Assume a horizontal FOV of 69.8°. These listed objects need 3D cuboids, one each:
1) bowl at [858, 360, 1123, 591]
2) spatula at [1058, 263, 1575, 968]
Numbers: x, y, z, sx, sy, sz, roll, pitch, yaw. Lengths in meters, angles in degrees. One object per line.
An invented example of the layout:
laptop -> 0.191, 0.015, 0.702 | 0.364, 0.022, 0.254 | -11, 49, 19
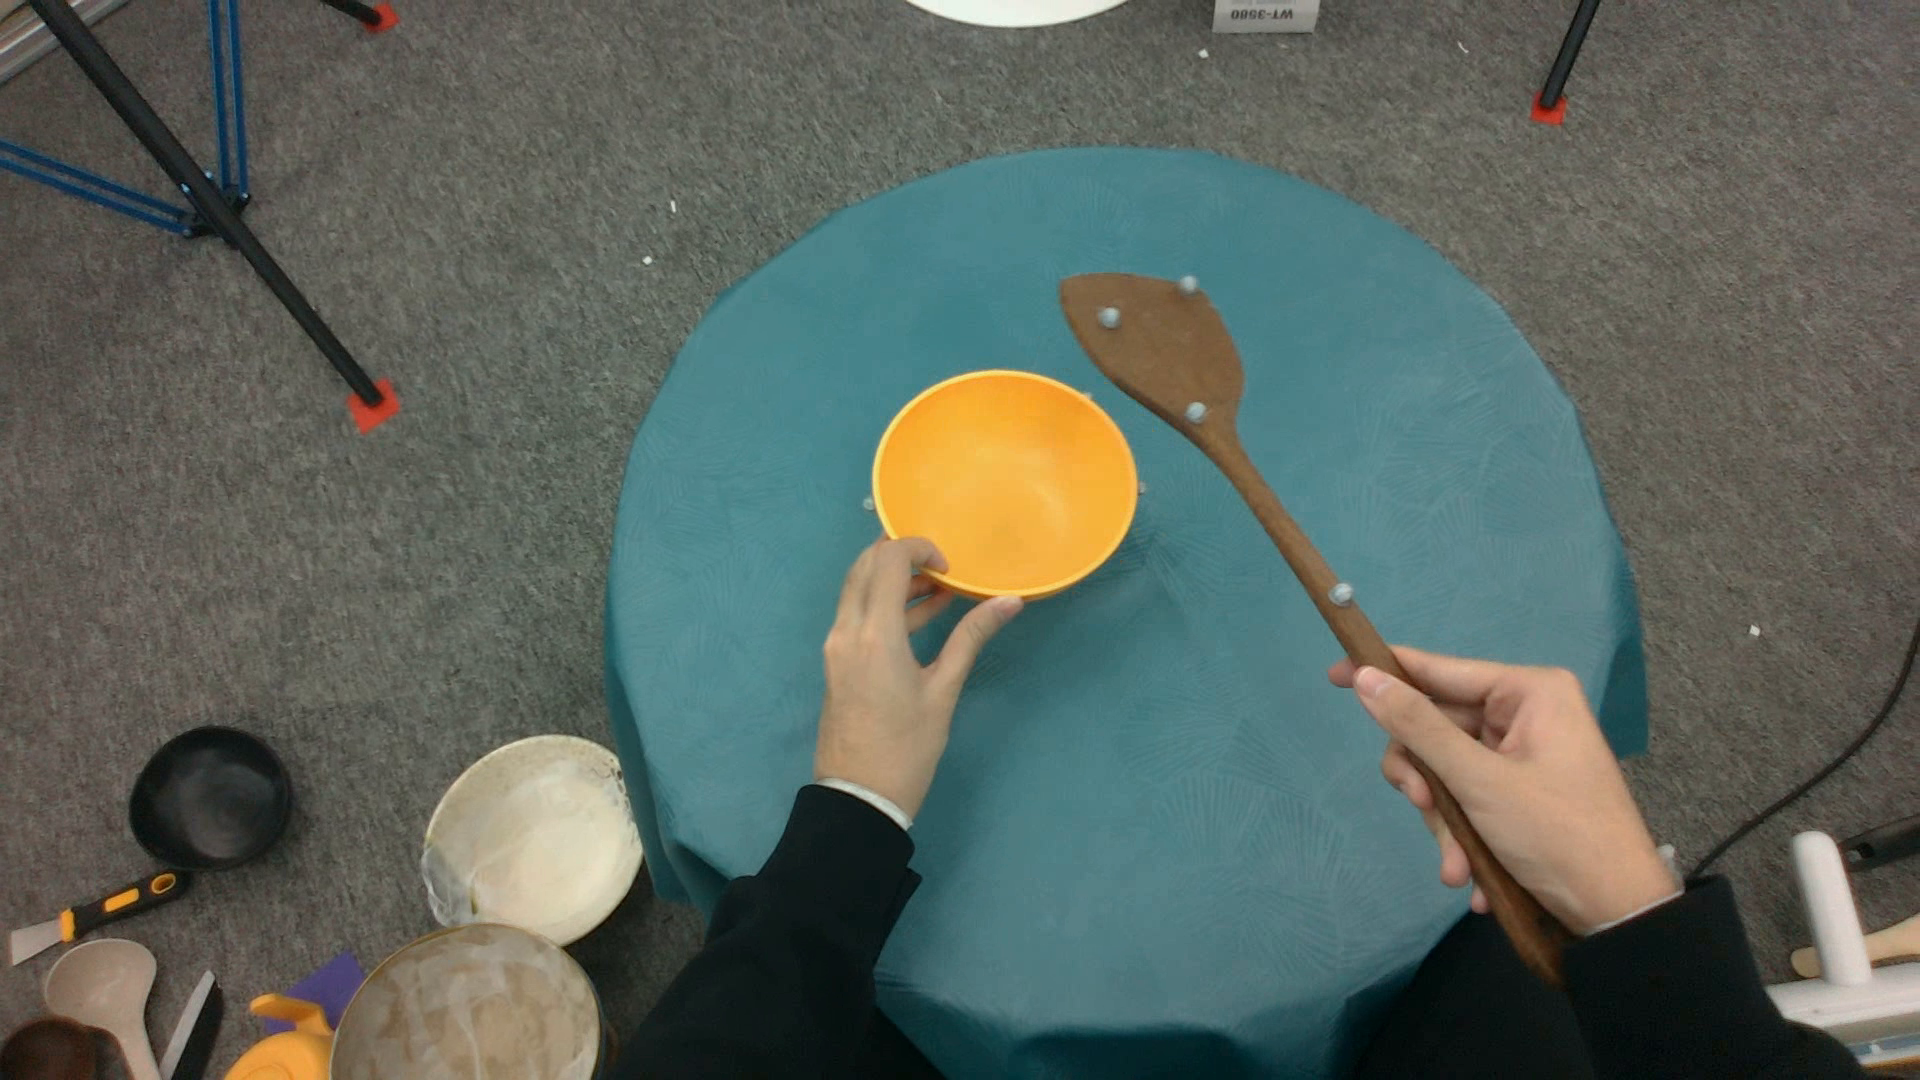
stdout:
bowl -> 0.016, -0.027, 0.775 | 0.145, 0.060, 0.146 | 0, 62, 0
spatula -> 0.150, 0.006, 0.602 | 0.096, 0.015, 0.387 | -3, 50, -30
